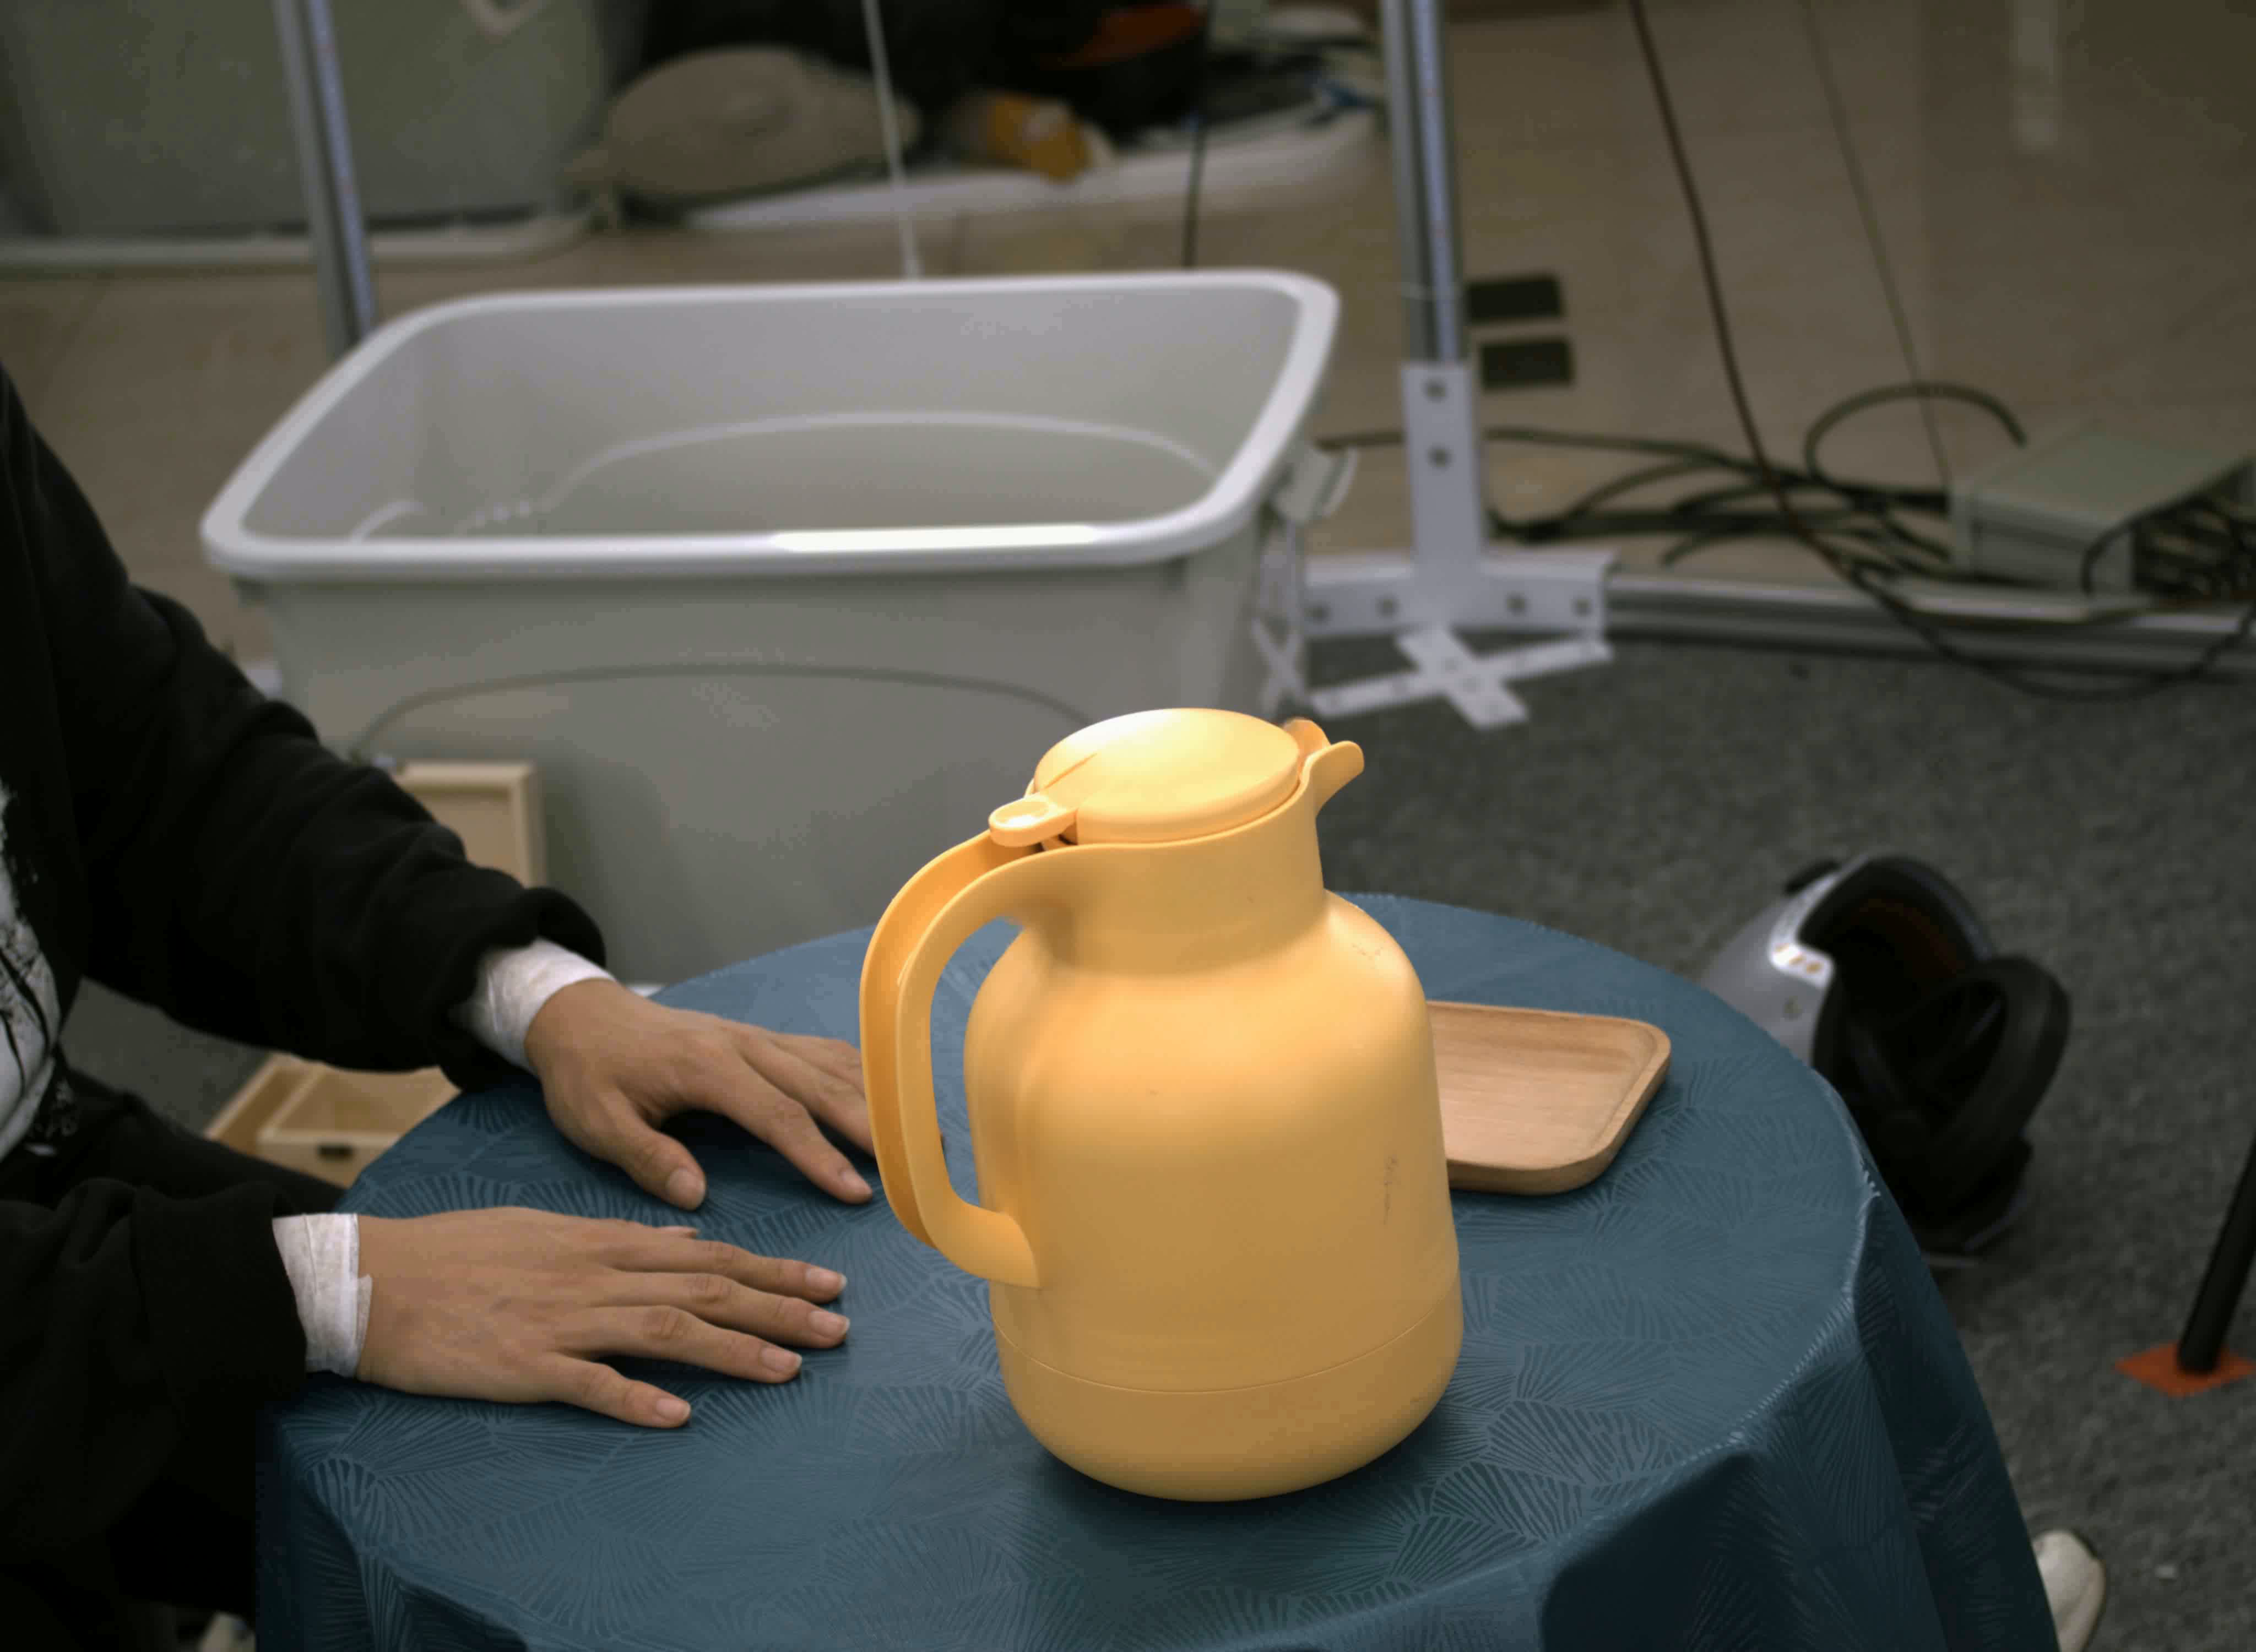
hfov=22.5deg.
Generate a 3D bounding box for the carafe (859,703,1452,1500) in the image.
[{"bbox_3d":[0.006,0.094,1.927,0.201,0.264,0.162,-17,25,-25],"label":"carafe"}]

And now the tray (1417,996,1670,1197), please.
[{"bbox_3d":[0.079,0.099,2.195,0.250,0.023,0.129,5,25,24],"label":"tray"}]
